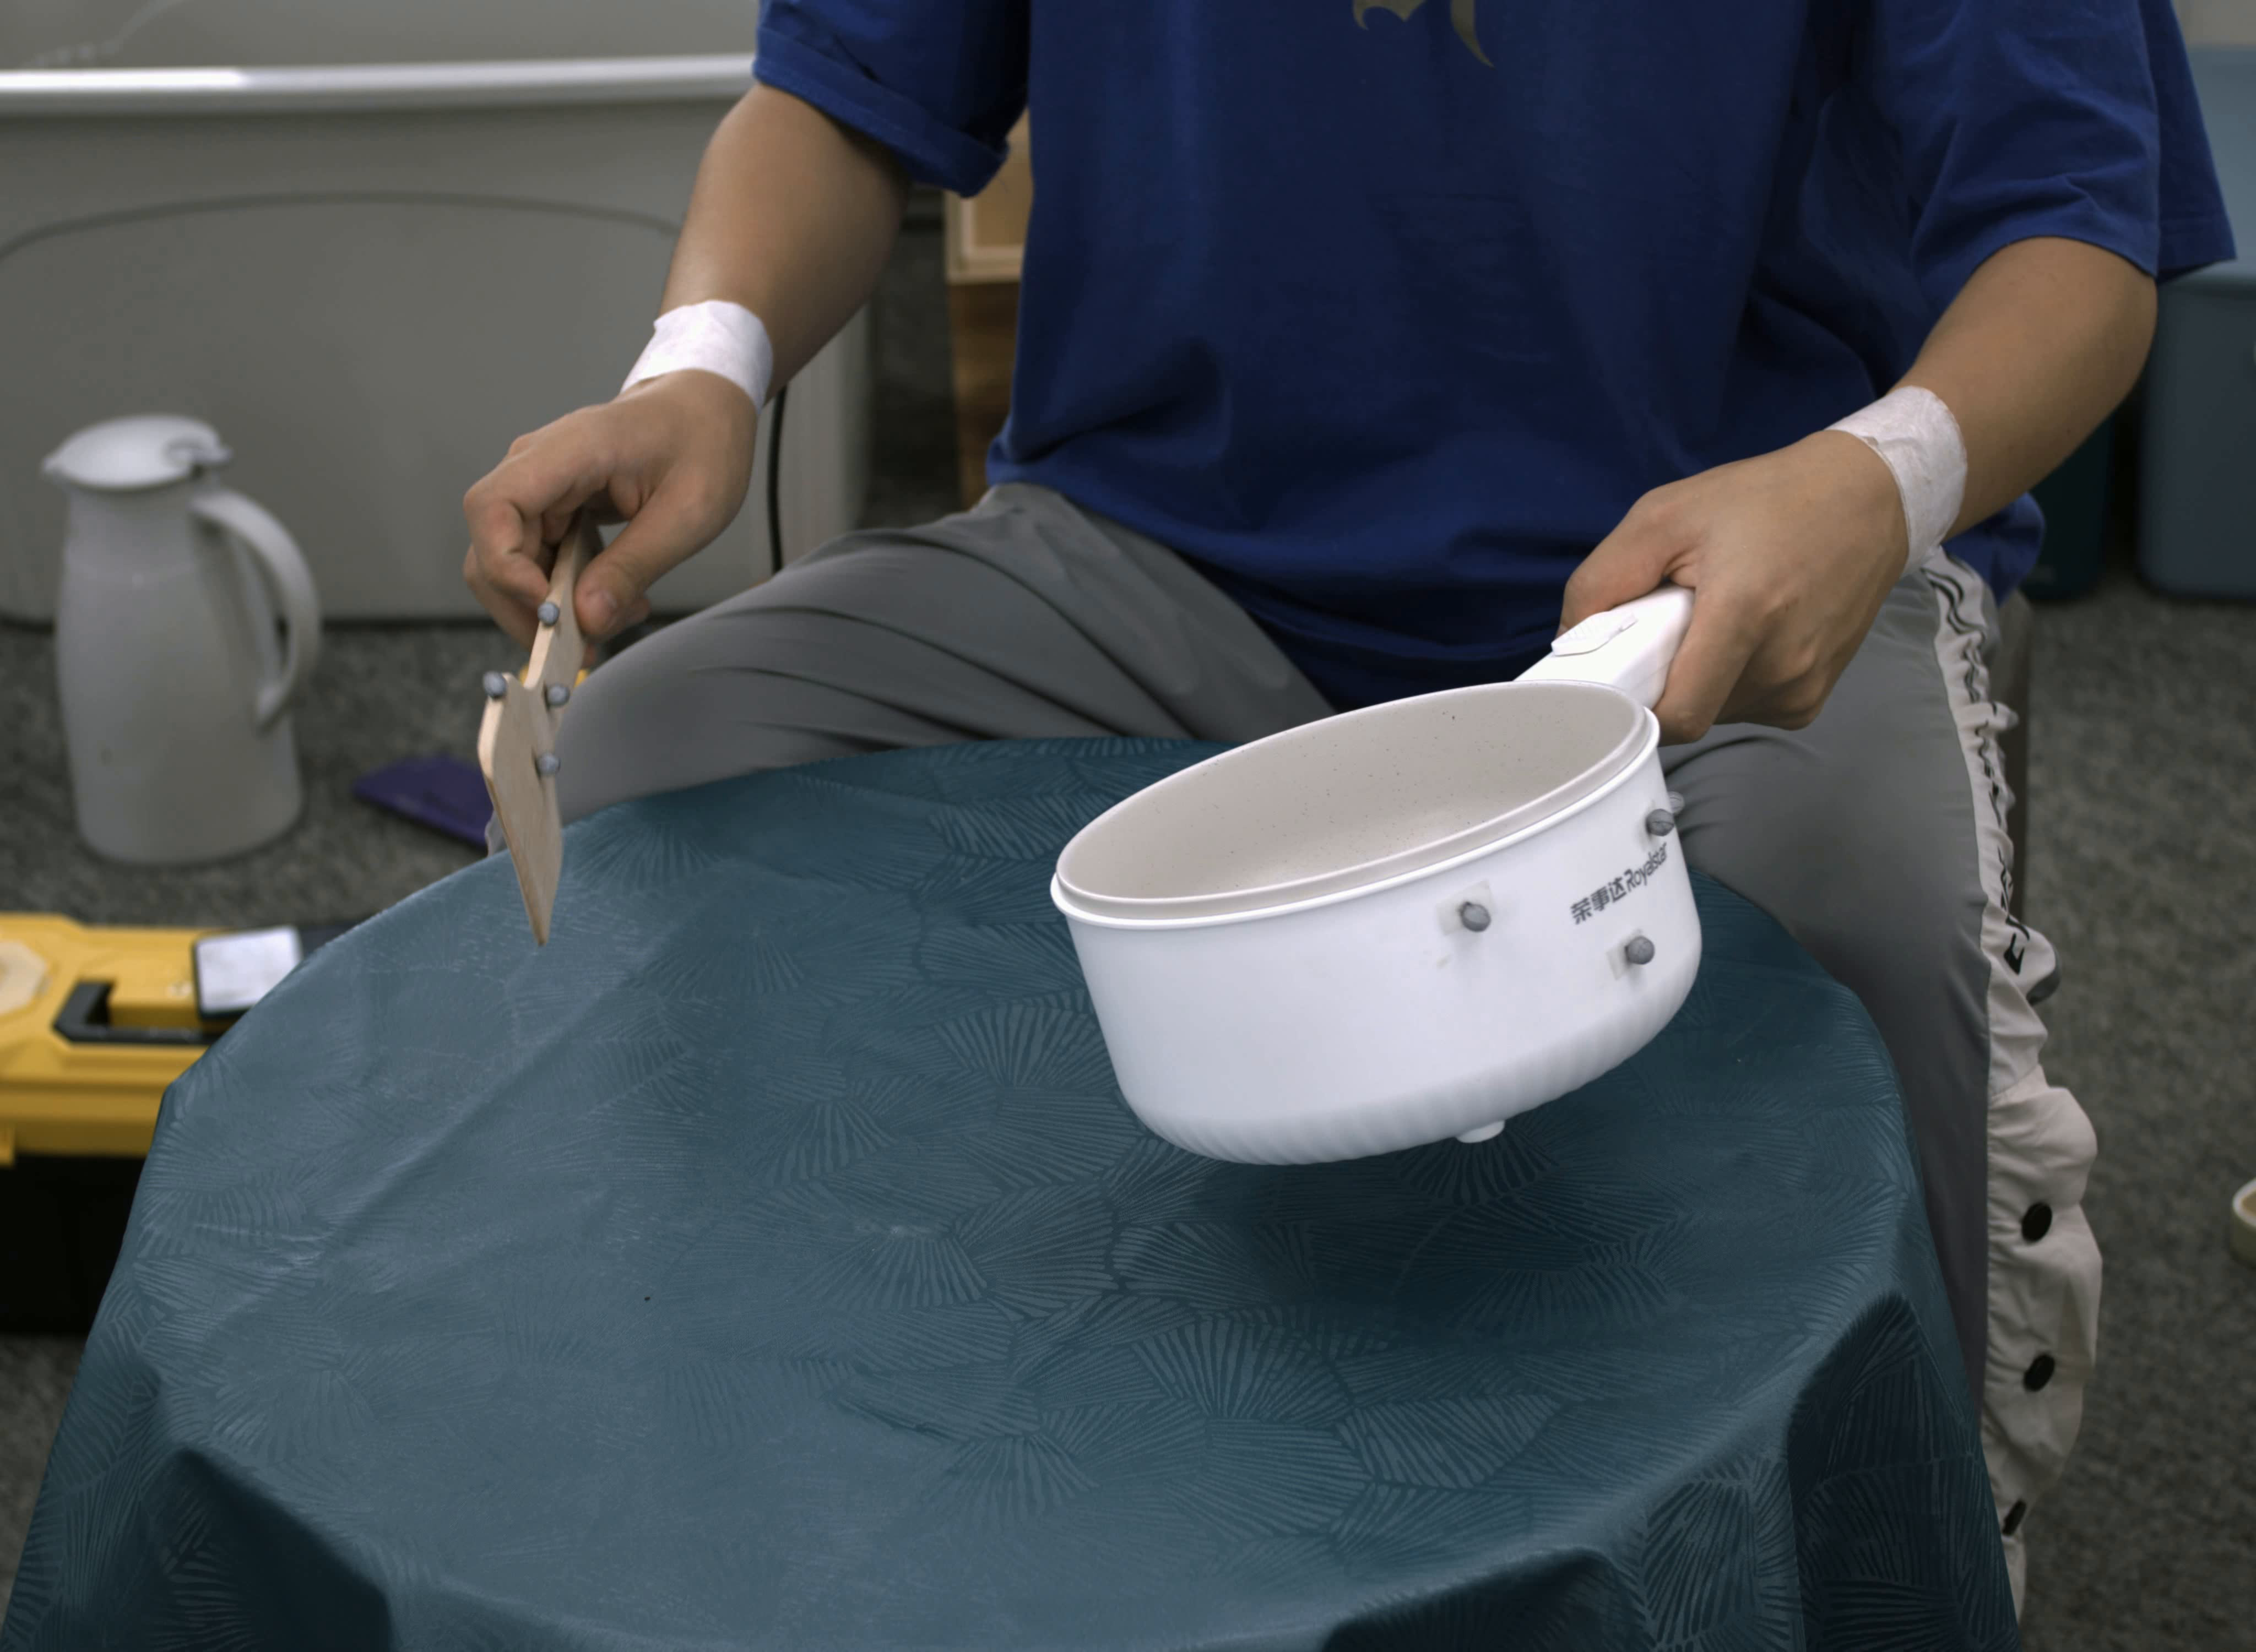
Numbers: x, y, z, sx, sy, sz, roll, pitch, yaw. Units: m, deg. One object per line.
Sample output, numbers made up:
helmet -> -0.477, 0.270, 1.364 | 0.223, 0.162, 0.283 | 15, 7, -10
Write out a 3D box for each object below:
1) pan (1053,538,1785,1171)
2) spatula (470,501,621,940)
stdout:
pan -> 0.126, 0.008, 1.862 | 0.199, 0.102, 0.360 | -9, 16, 37
spatula -> -0.204, -0.052, 2.007 | 0.010, 0.072, 0.297 | -14, 24, 8
